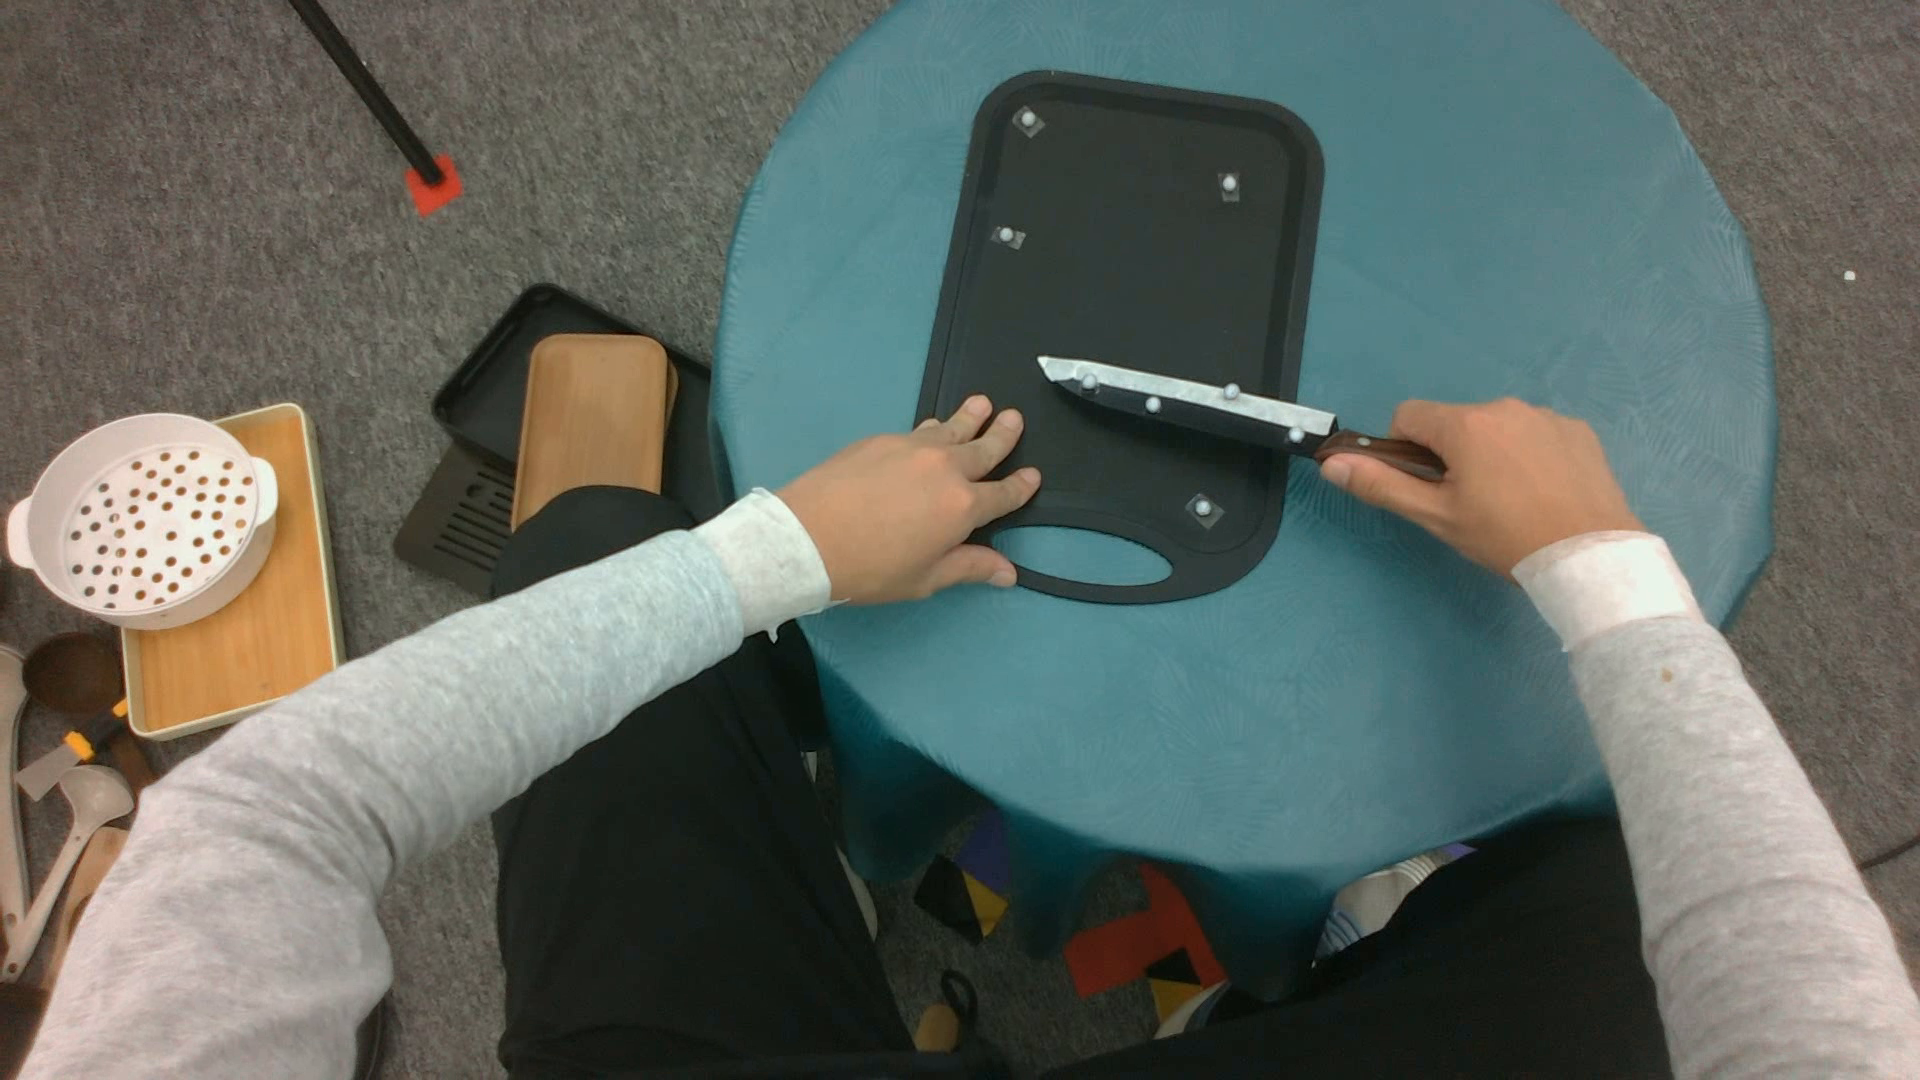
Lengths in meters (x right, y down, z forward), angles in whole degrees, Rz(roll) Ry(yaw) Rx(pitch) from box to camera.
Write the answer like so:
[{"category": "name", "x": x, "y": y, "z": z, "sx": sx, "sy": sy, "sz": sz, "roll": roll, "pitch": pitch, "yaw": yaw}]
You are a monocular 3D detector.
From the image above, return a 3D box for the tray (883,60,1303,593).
[{"category": "tray", "x": 0.079, "y": -0.128, "z": 0.786, "sx": 0.211, "sy": 0.010, "sz": 0.326, "roll": 10, "pitch": 73, "yaw": 3}]

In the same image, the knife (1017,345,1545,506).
[{"category": "knife", "x": 0.165, "y": -0.067, "z": 0.740, "sx": 0.289, "sy": 0.020, "sz": 0.050, "roll": 17, "pitch": 41, "yaw": 15}]
